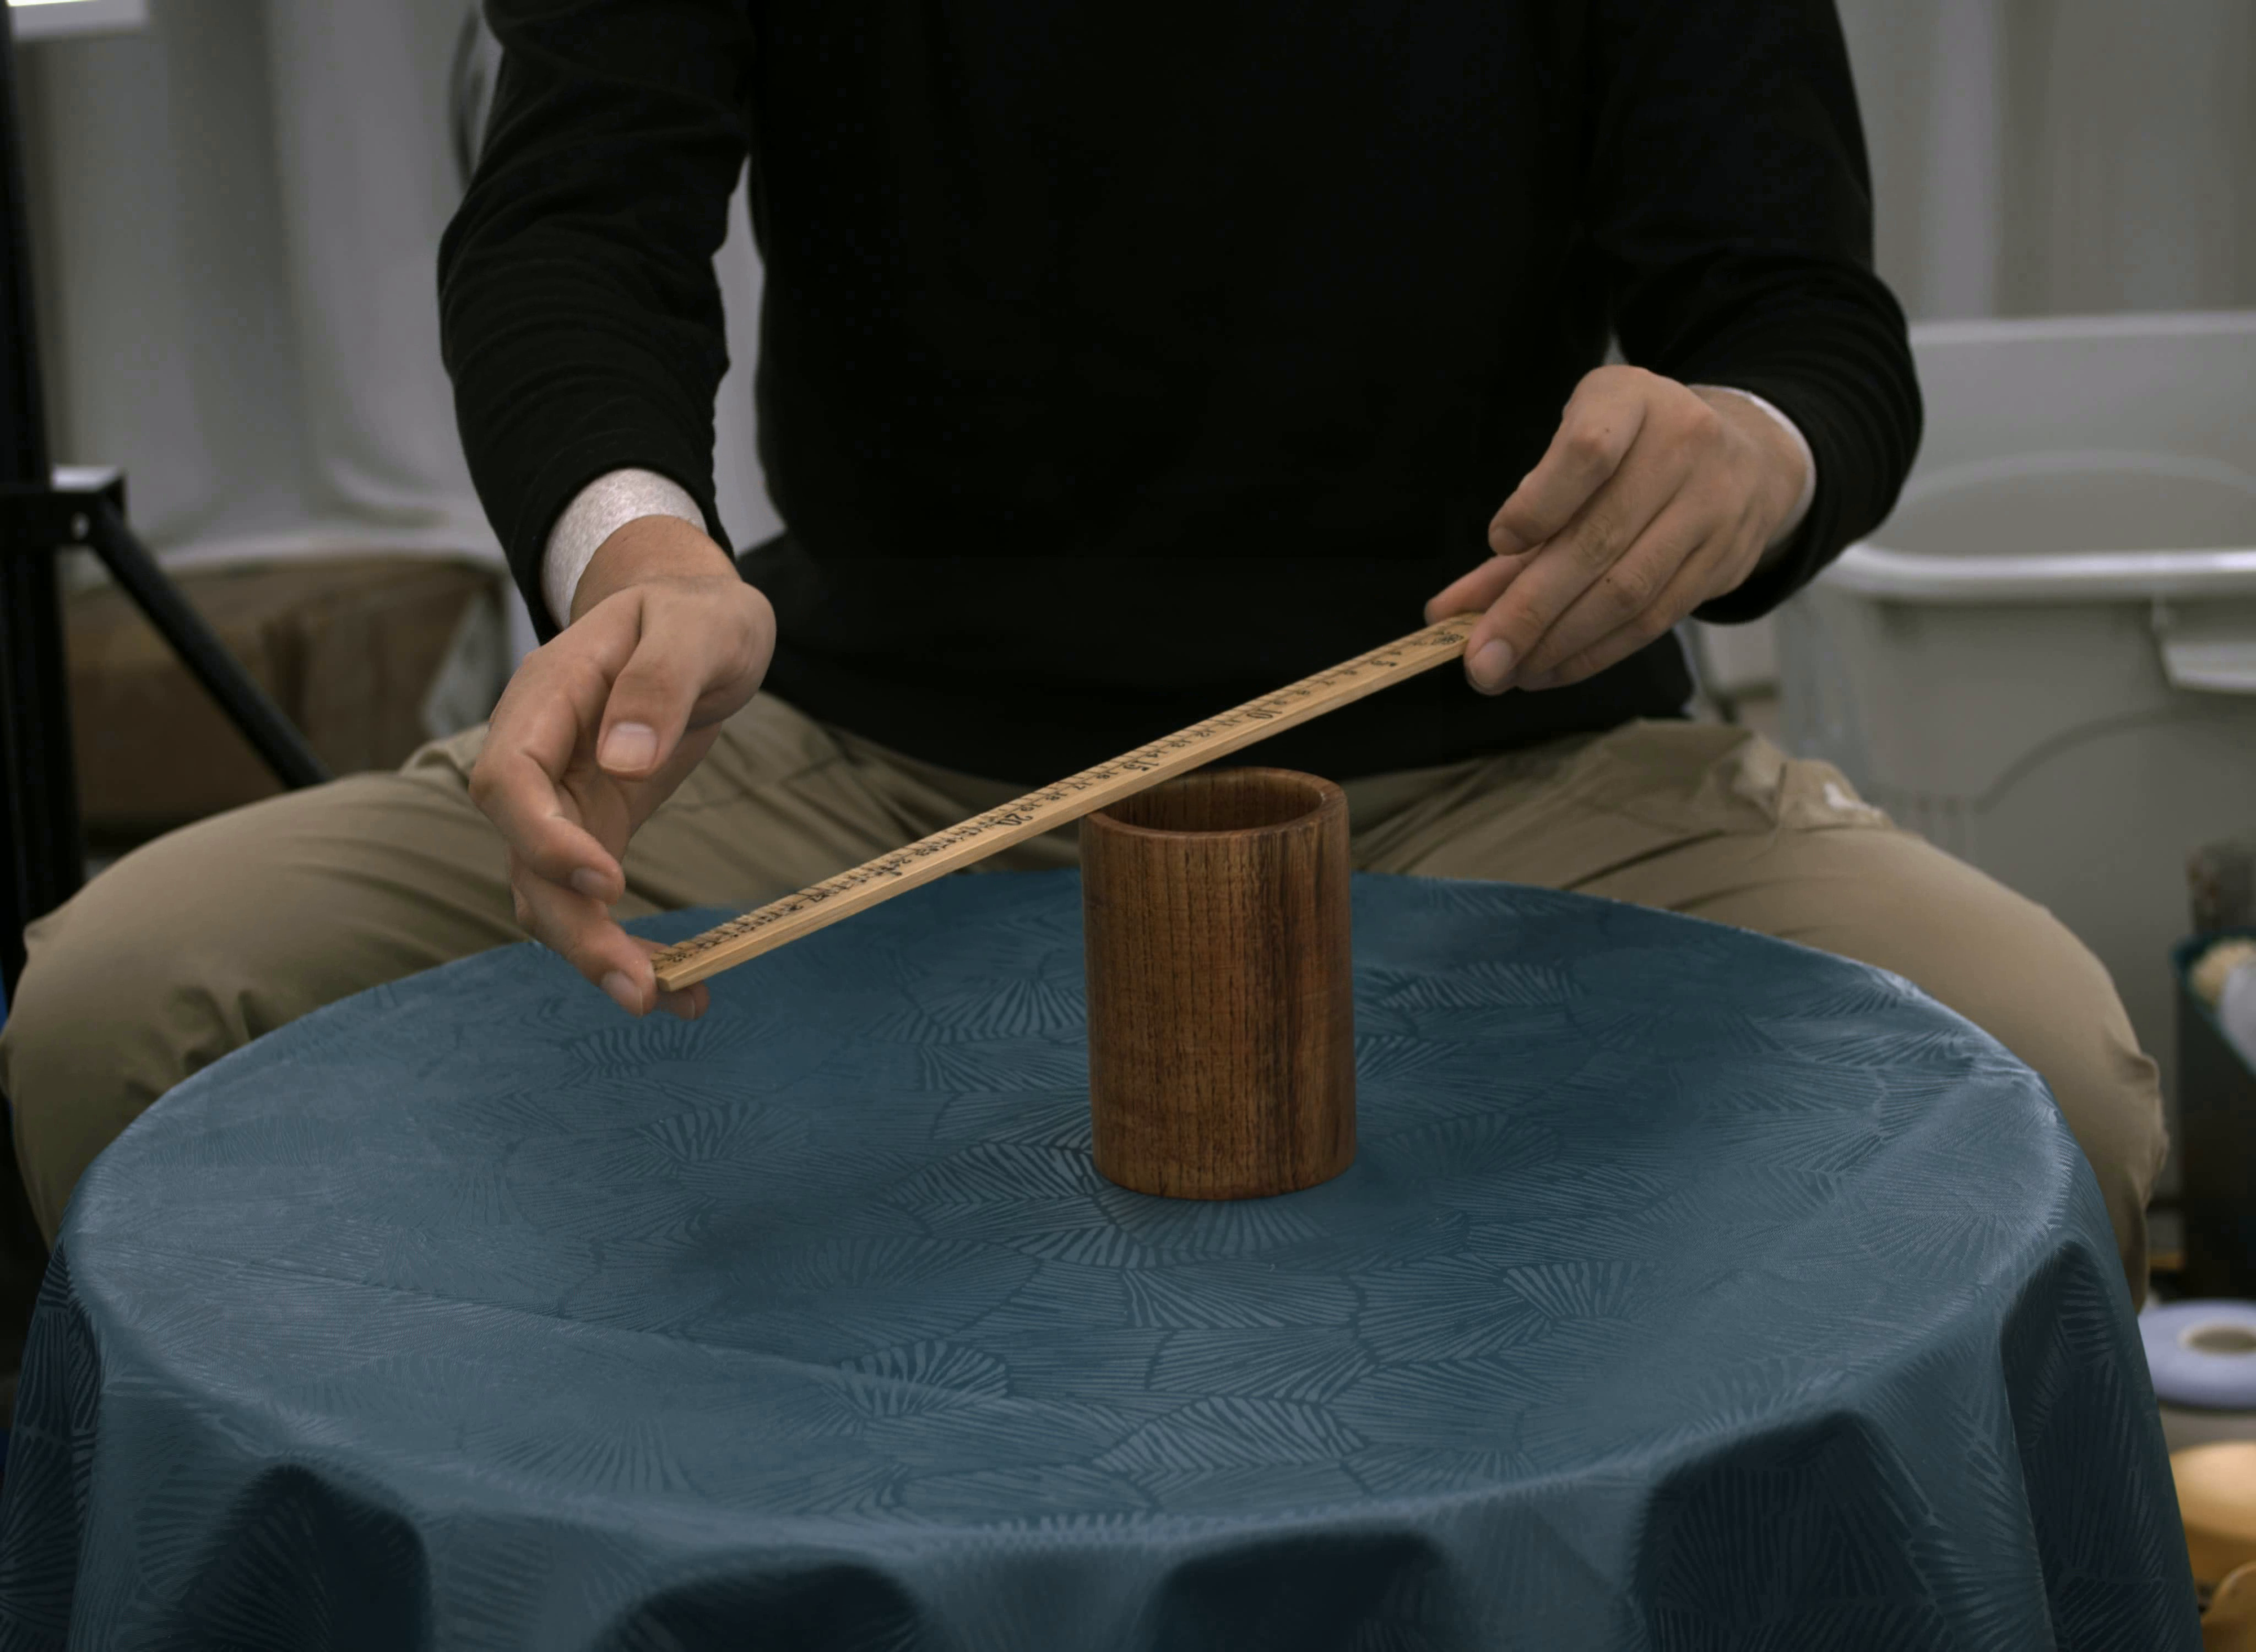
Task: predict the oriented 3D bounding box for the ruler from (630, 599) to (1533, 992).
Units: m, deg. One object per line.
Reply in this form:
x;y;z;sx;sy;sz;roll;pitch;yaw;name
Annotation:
-0.007;-0.014;1.564;0.325;0.022;0.028;-23;24;-33;ruler

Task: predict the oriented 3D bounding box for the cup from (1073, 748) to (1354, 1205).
0.026;0.044;1.567;0.087;0.118;0.088;-1;15;-1;cup
